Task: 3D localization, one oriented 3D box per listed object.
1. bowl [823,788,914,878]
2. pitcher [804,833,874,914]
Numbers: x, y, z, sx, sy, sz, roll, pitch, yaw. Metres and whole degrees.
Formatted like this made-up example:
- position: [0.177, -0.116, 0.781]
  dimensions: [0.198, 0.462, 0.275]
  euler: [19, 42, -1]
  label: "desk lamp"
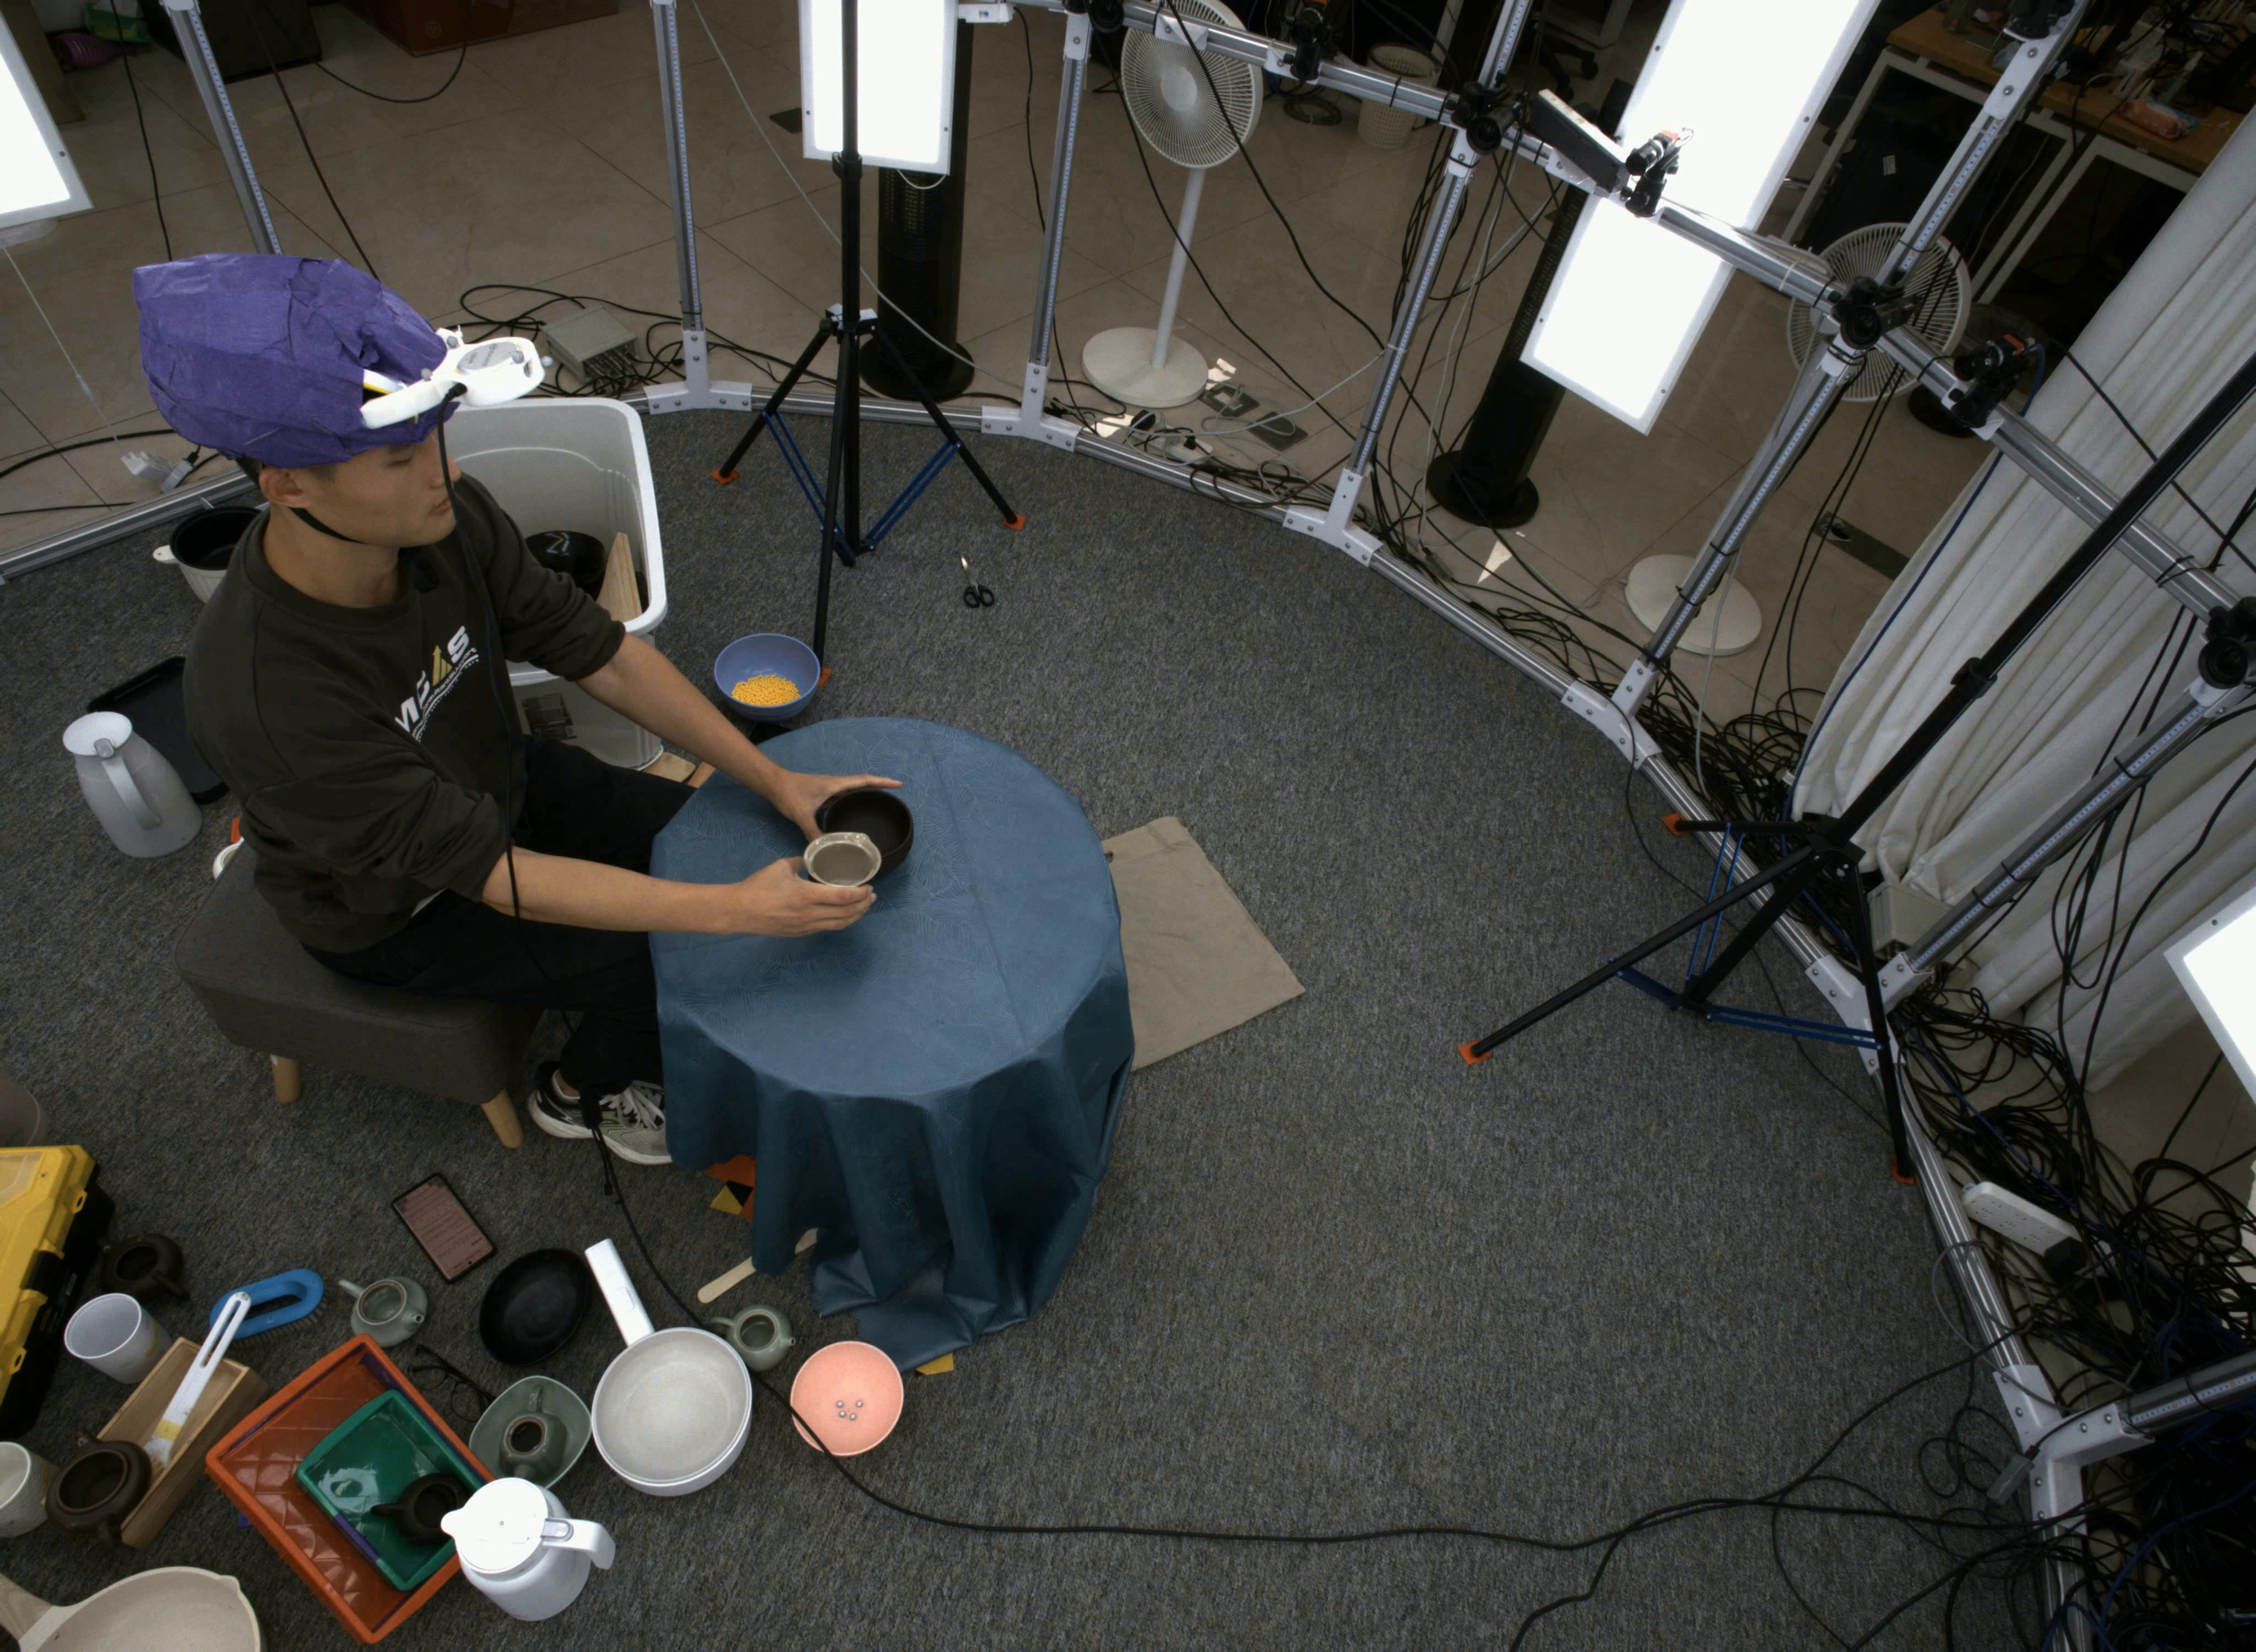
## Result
- position: [-0.339, 0.016, 1.697]
  dimensions: [0.118, 0.071, 0.116]
  euler: [8, 53, -9]
  label: "bowl"
- position: [-0.350, 0.061, 1.591]
  dimensions: [0.082, 0.073, 0.095]
  euler: [24, 44, 13]
  label: "pitcher"
